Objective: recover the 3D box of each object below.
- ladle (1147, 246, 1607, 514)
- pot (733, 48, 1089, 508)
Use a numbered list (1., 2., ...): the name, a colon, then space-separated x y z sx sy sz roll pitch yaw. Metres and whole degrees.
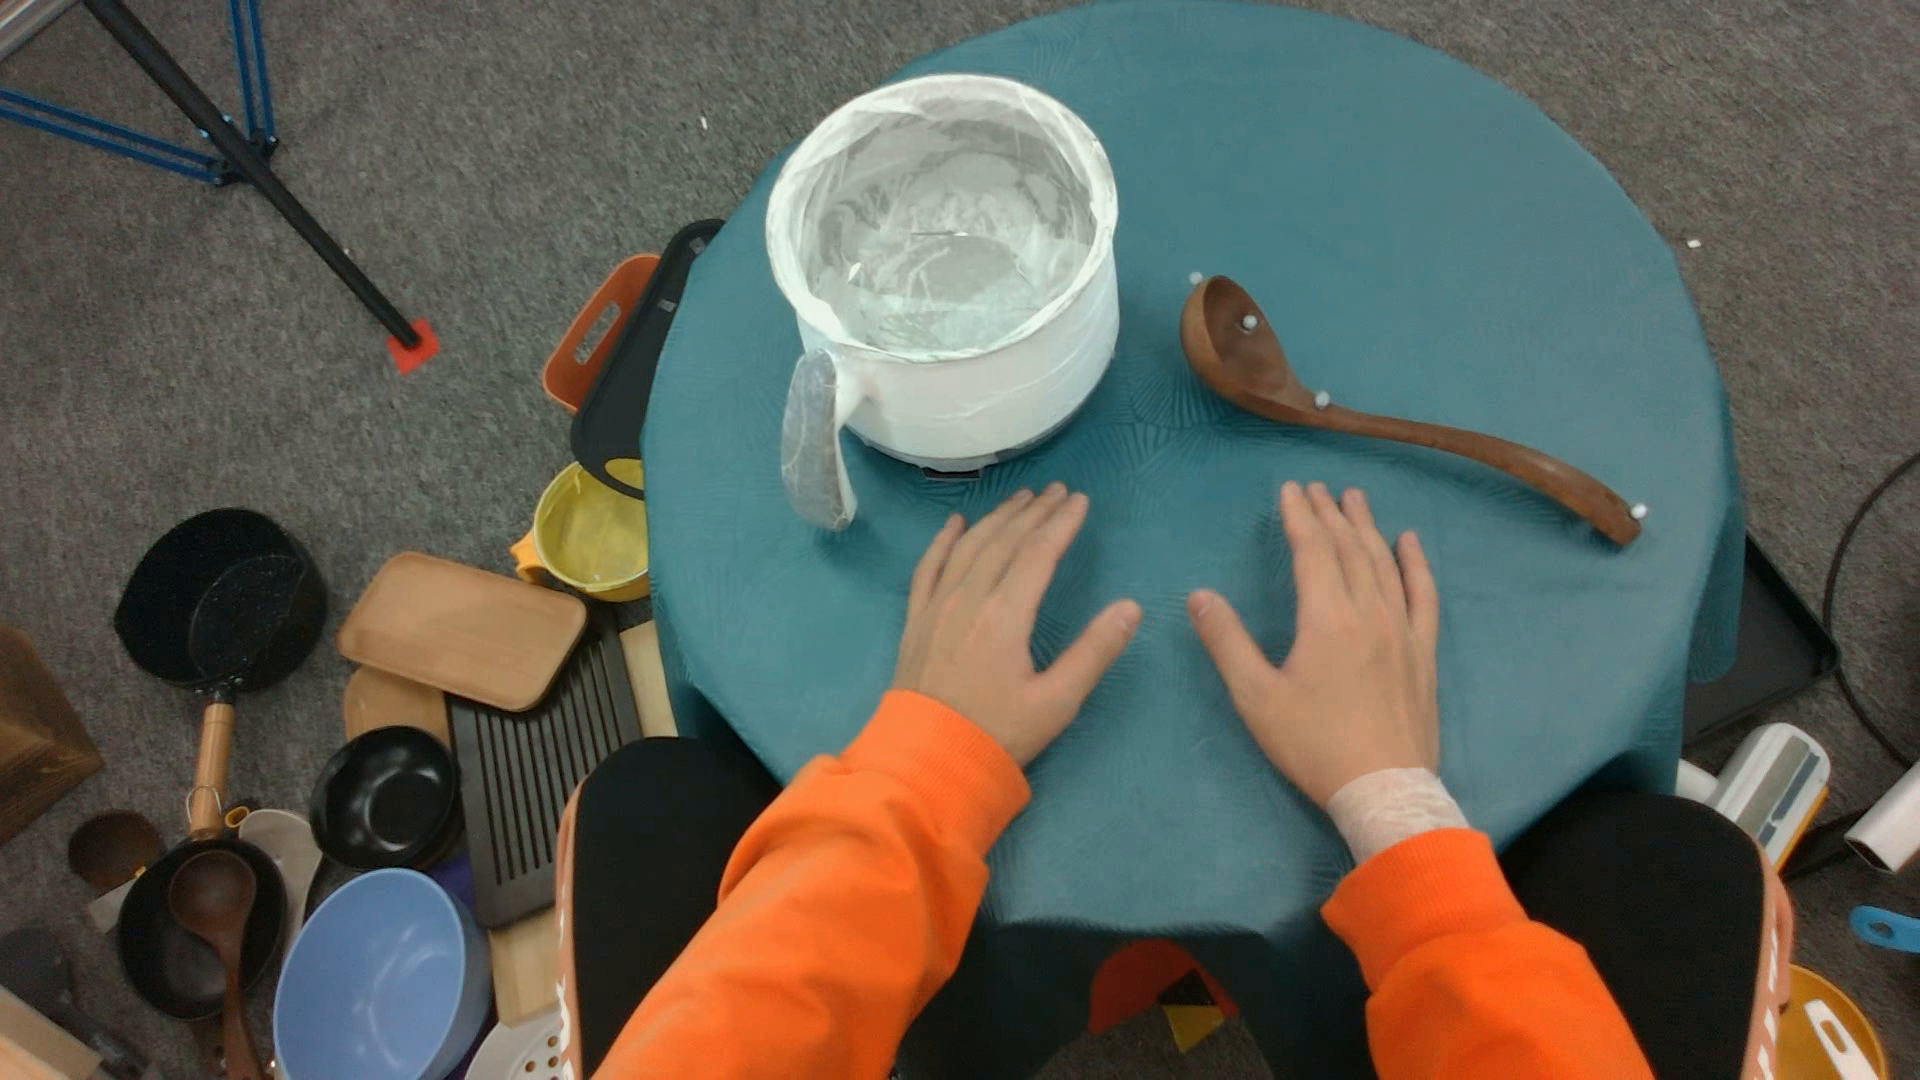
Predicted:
1. ladle: 0.220 -0.086 0.728 0.260 0.065 0.077 23 44 16
2. pot: -0.034 -0.129 0.734 0.178 0.136 0.234 28 71 18
